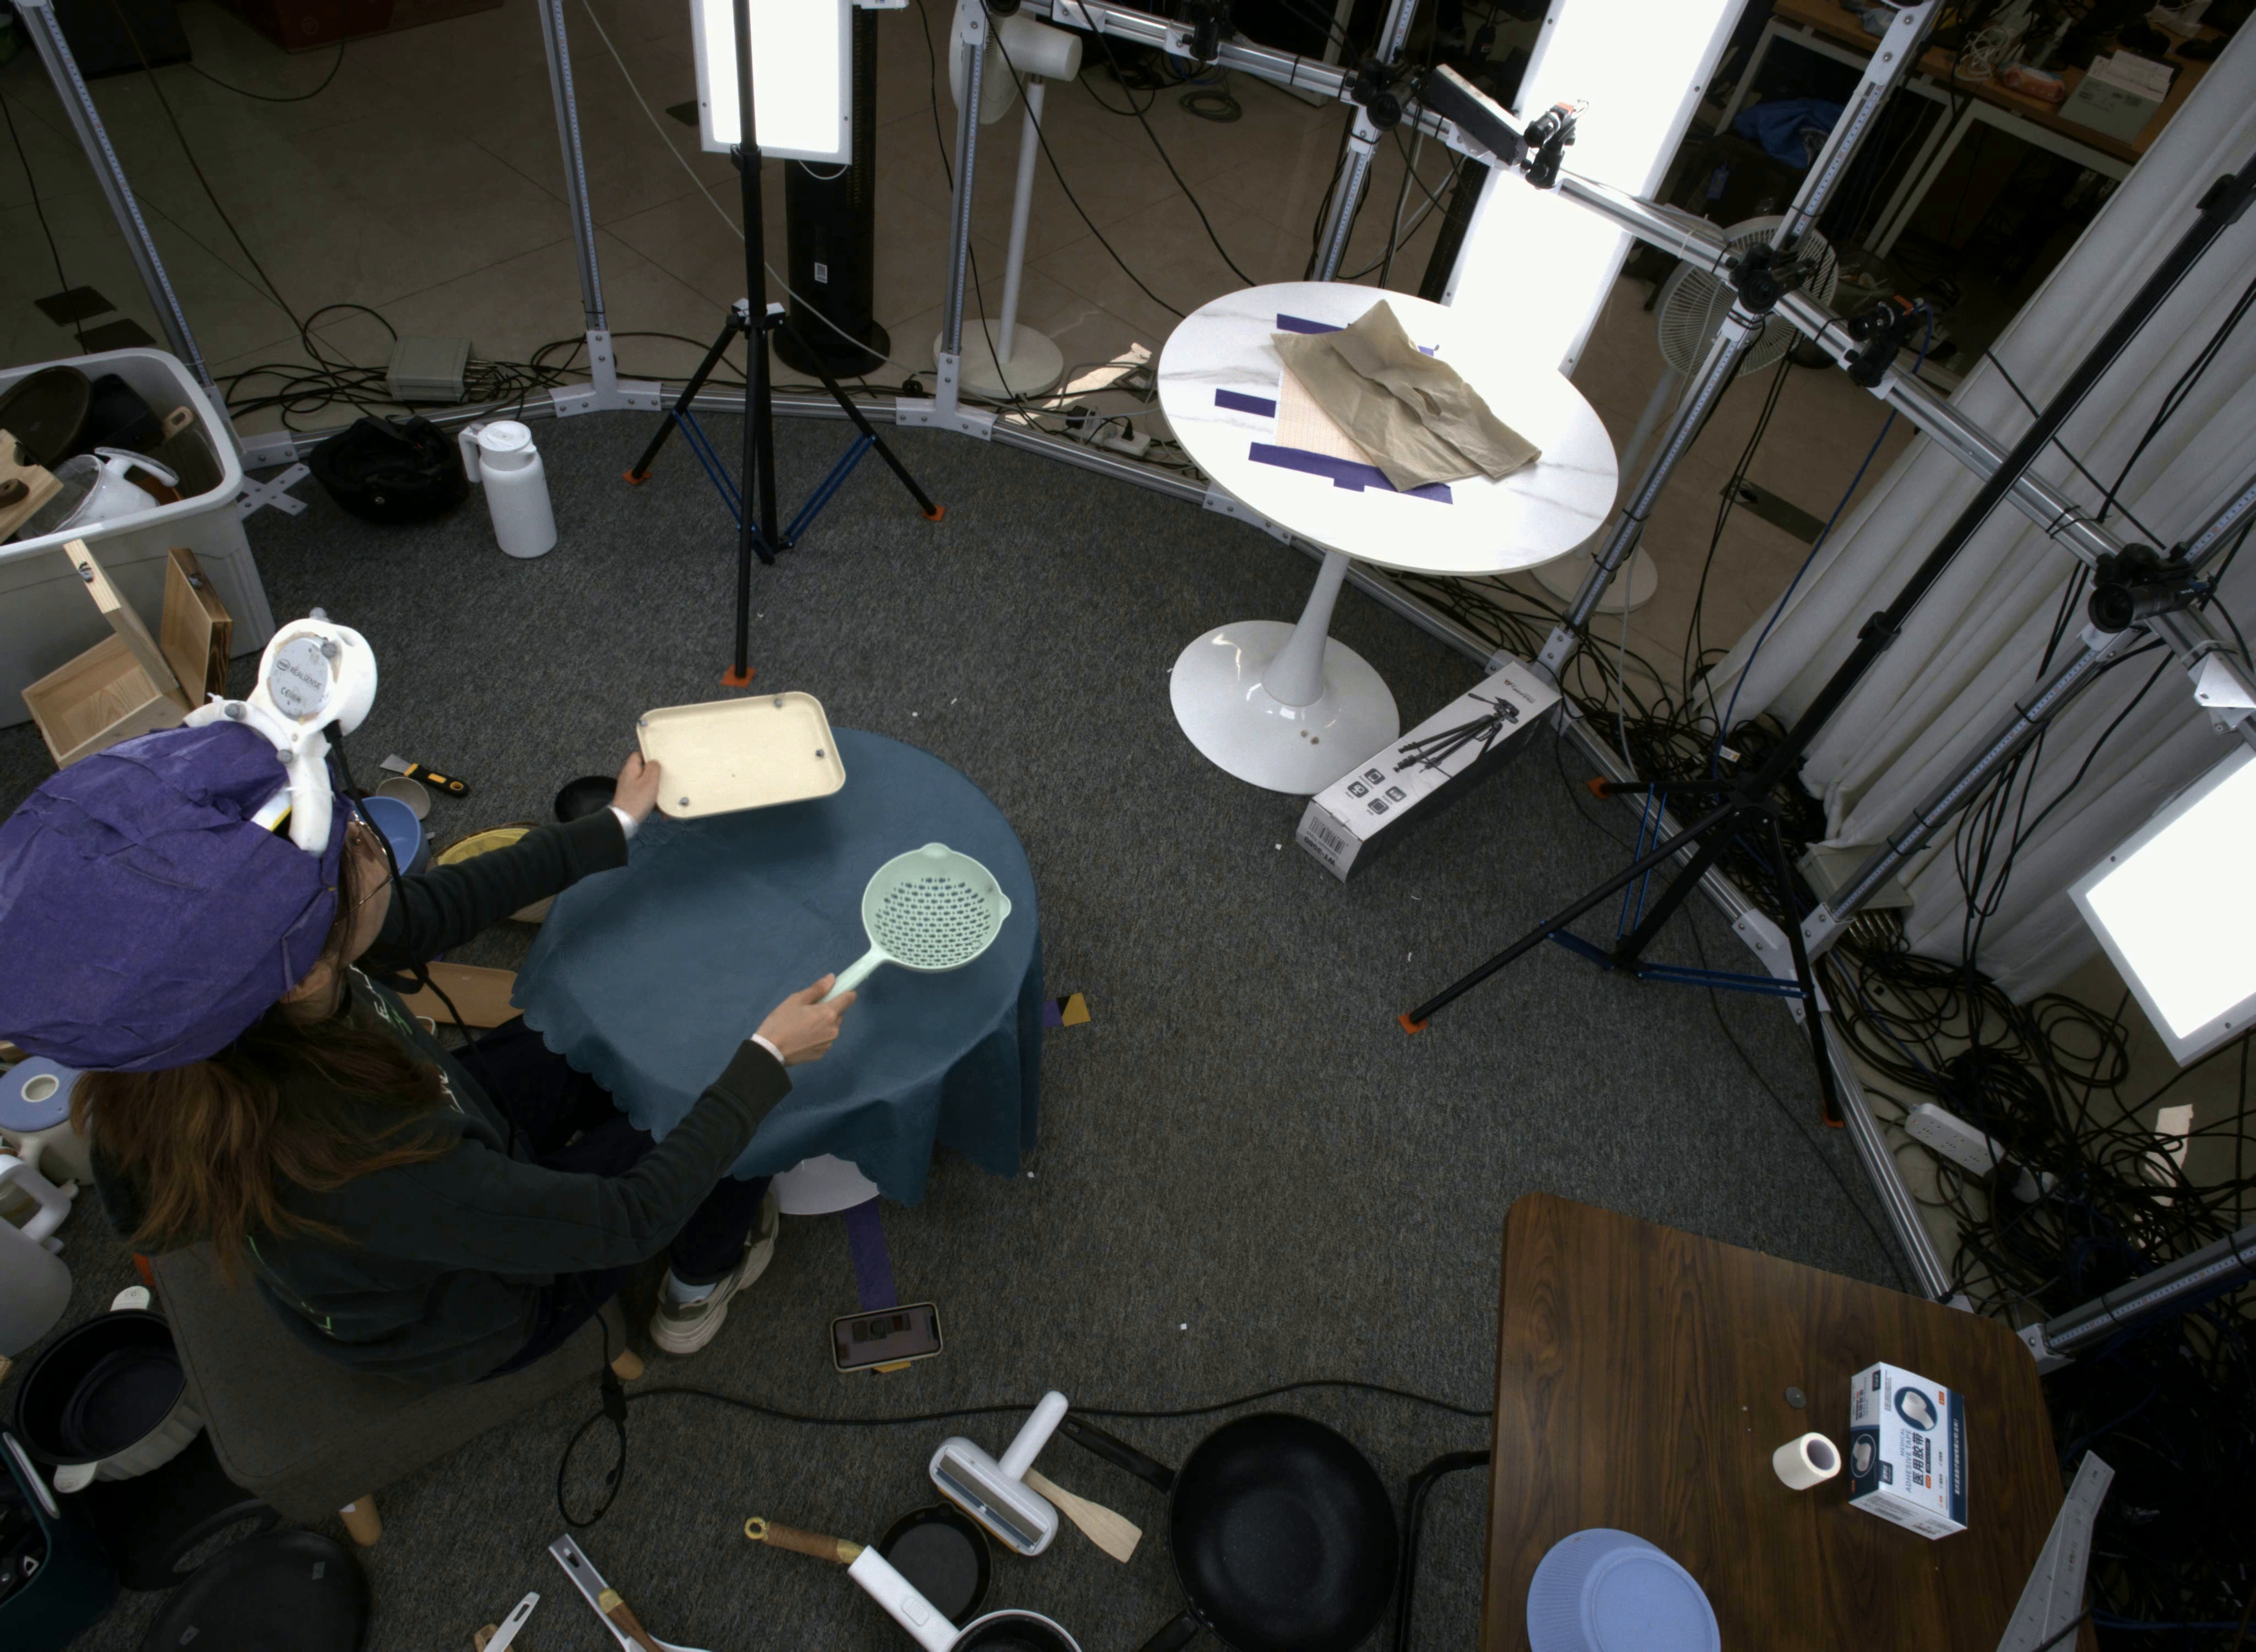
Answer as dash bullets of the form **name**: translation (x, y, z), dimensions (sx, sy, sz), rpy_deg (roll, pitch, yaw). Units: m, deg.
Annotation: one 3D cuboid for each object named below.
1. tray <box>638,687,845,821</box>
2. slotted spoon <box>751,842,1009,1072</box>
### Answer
- **tray**: translation (-0.493, -0.093, 1.645), dimensions (0.241, 0.017, 0.168), rpy_deg (-12, 64, -28)
- **slotted spoon**: translation (-0.298, 0.157, 1.521), dimensions (0.165, 0.077, 0.359), rpy_deg (37, 49, 18)
